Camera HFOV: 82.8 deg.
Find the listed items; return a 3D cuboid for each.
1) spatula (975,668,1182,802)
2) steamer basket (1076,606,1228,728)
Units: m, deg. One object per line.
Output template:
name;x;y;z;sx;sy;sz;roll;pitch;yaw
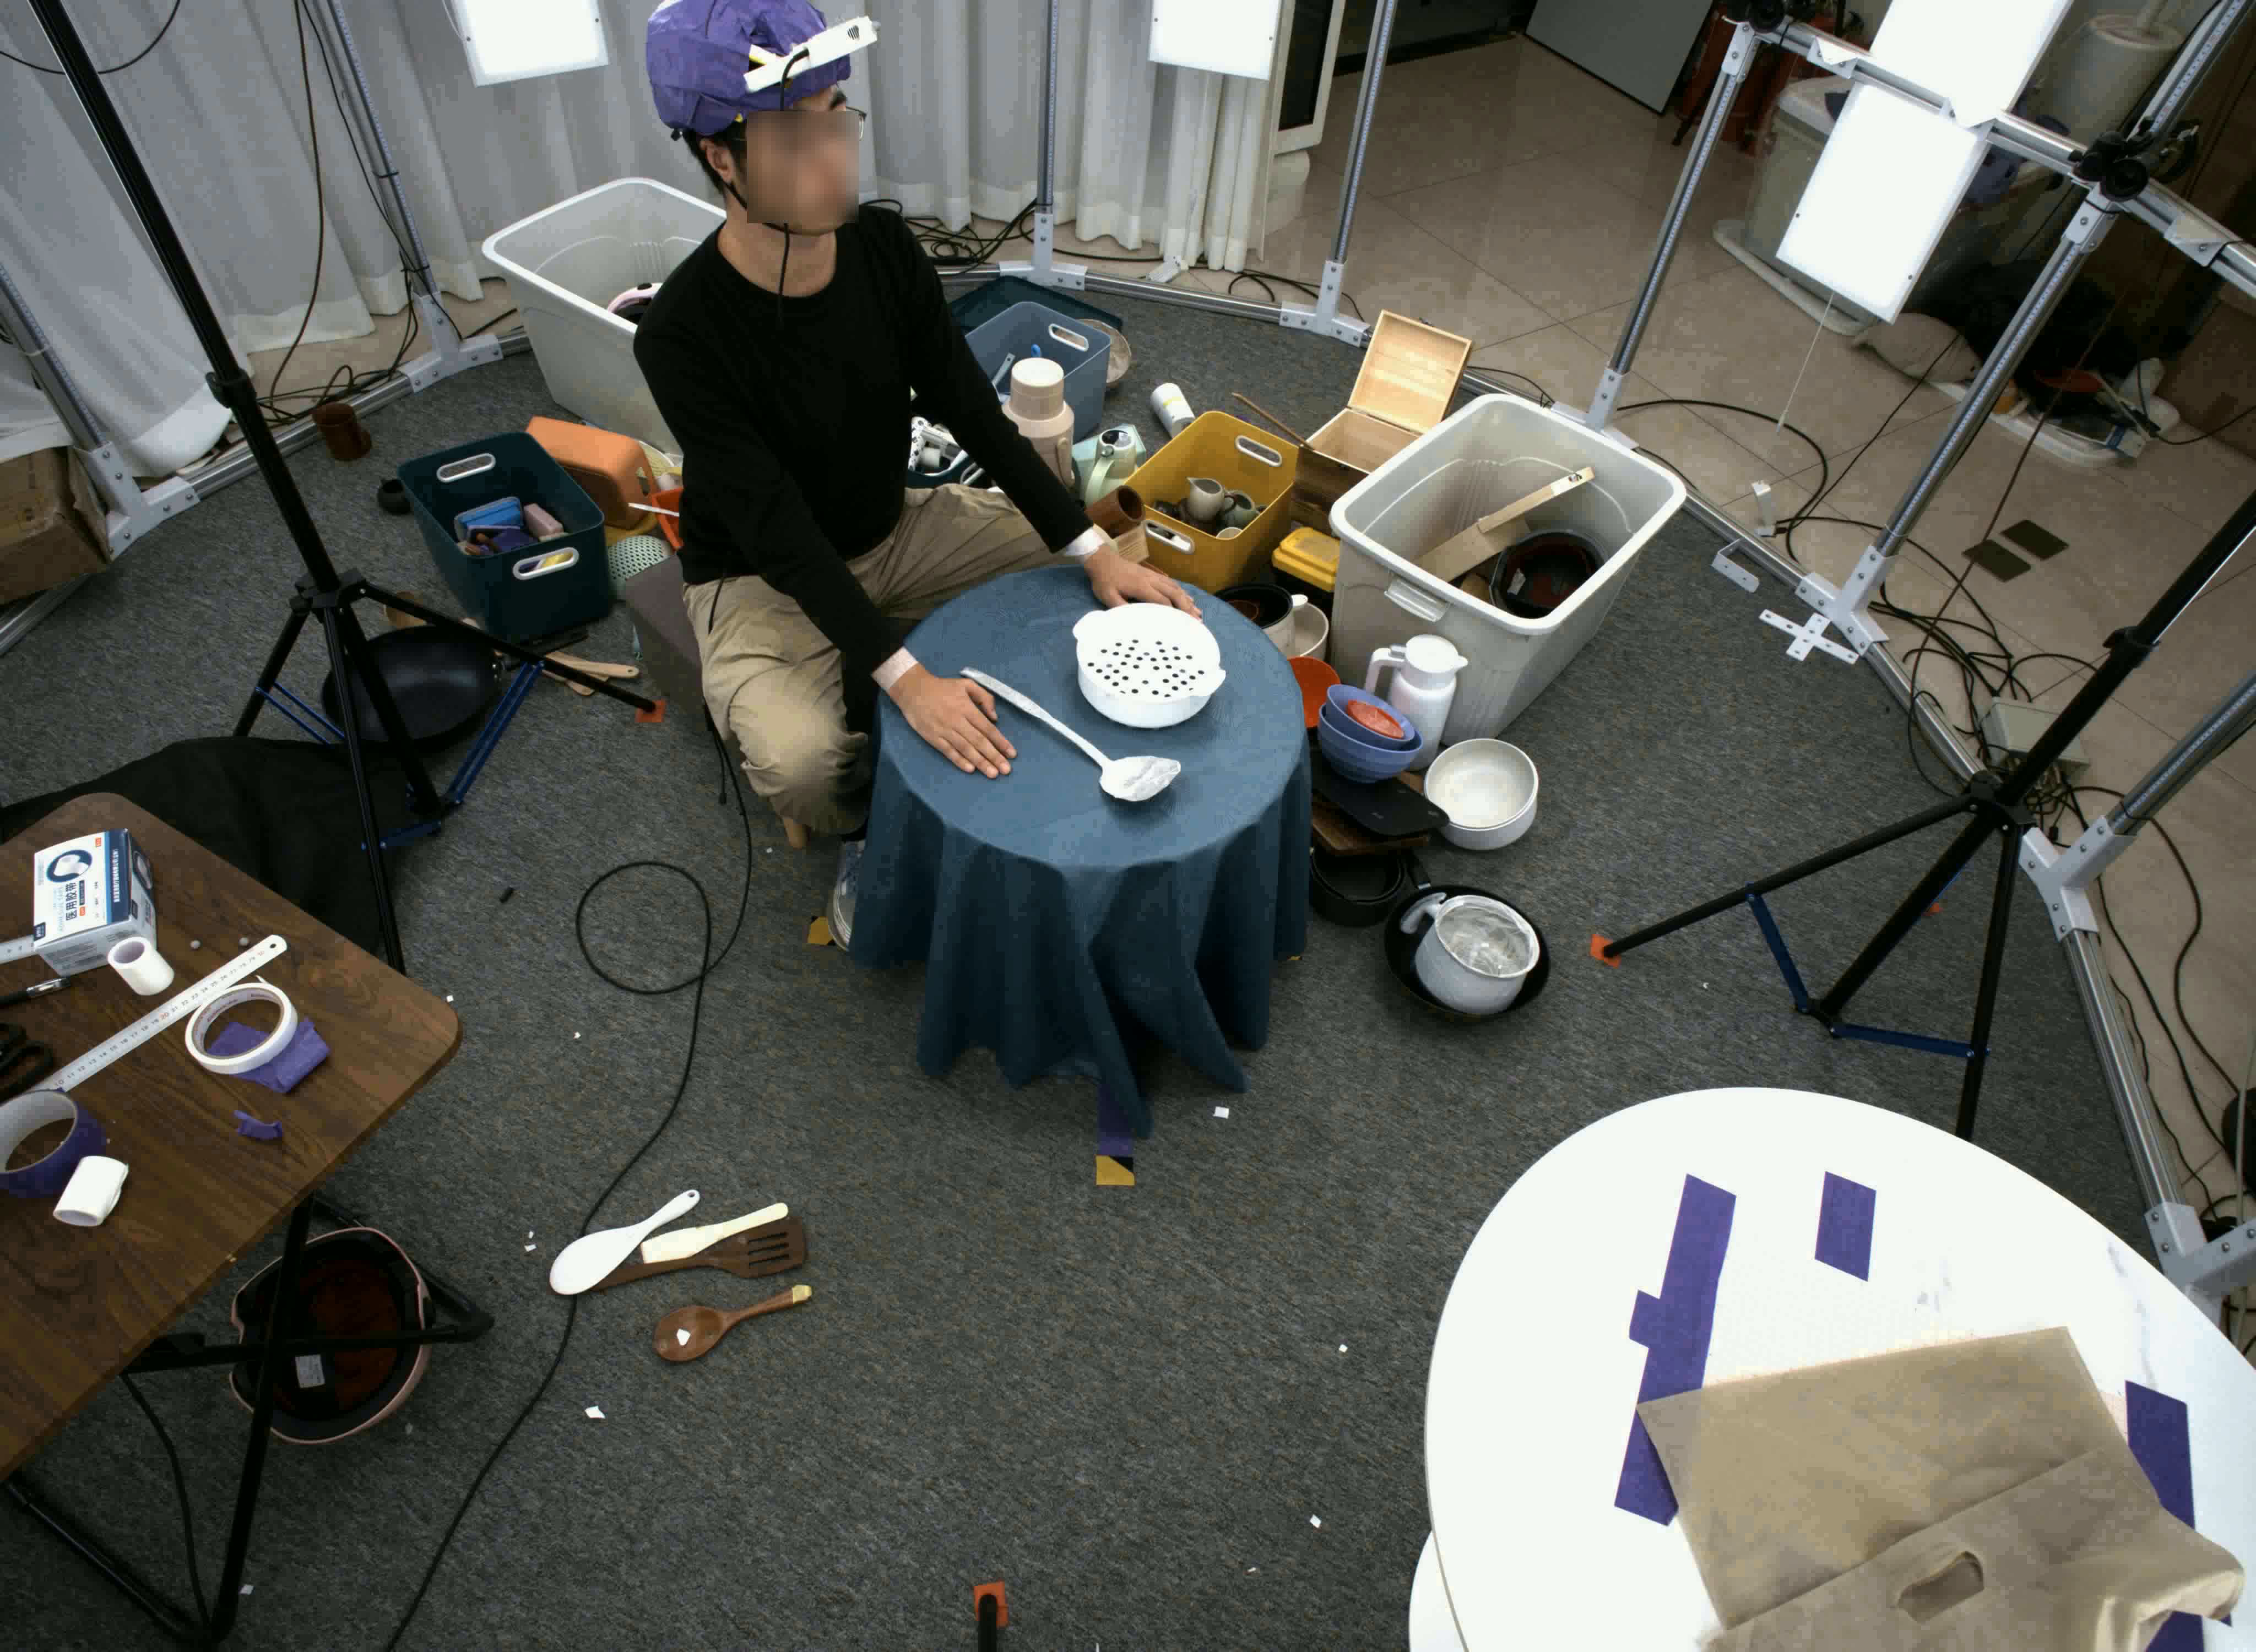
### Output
spatula;-0.087;-0.137;1.759;0.370;0.044;0.100;35;58;24
steamer basket;0.031;-0.225;1.823;0.233;0.067;0.205;27;52;20
